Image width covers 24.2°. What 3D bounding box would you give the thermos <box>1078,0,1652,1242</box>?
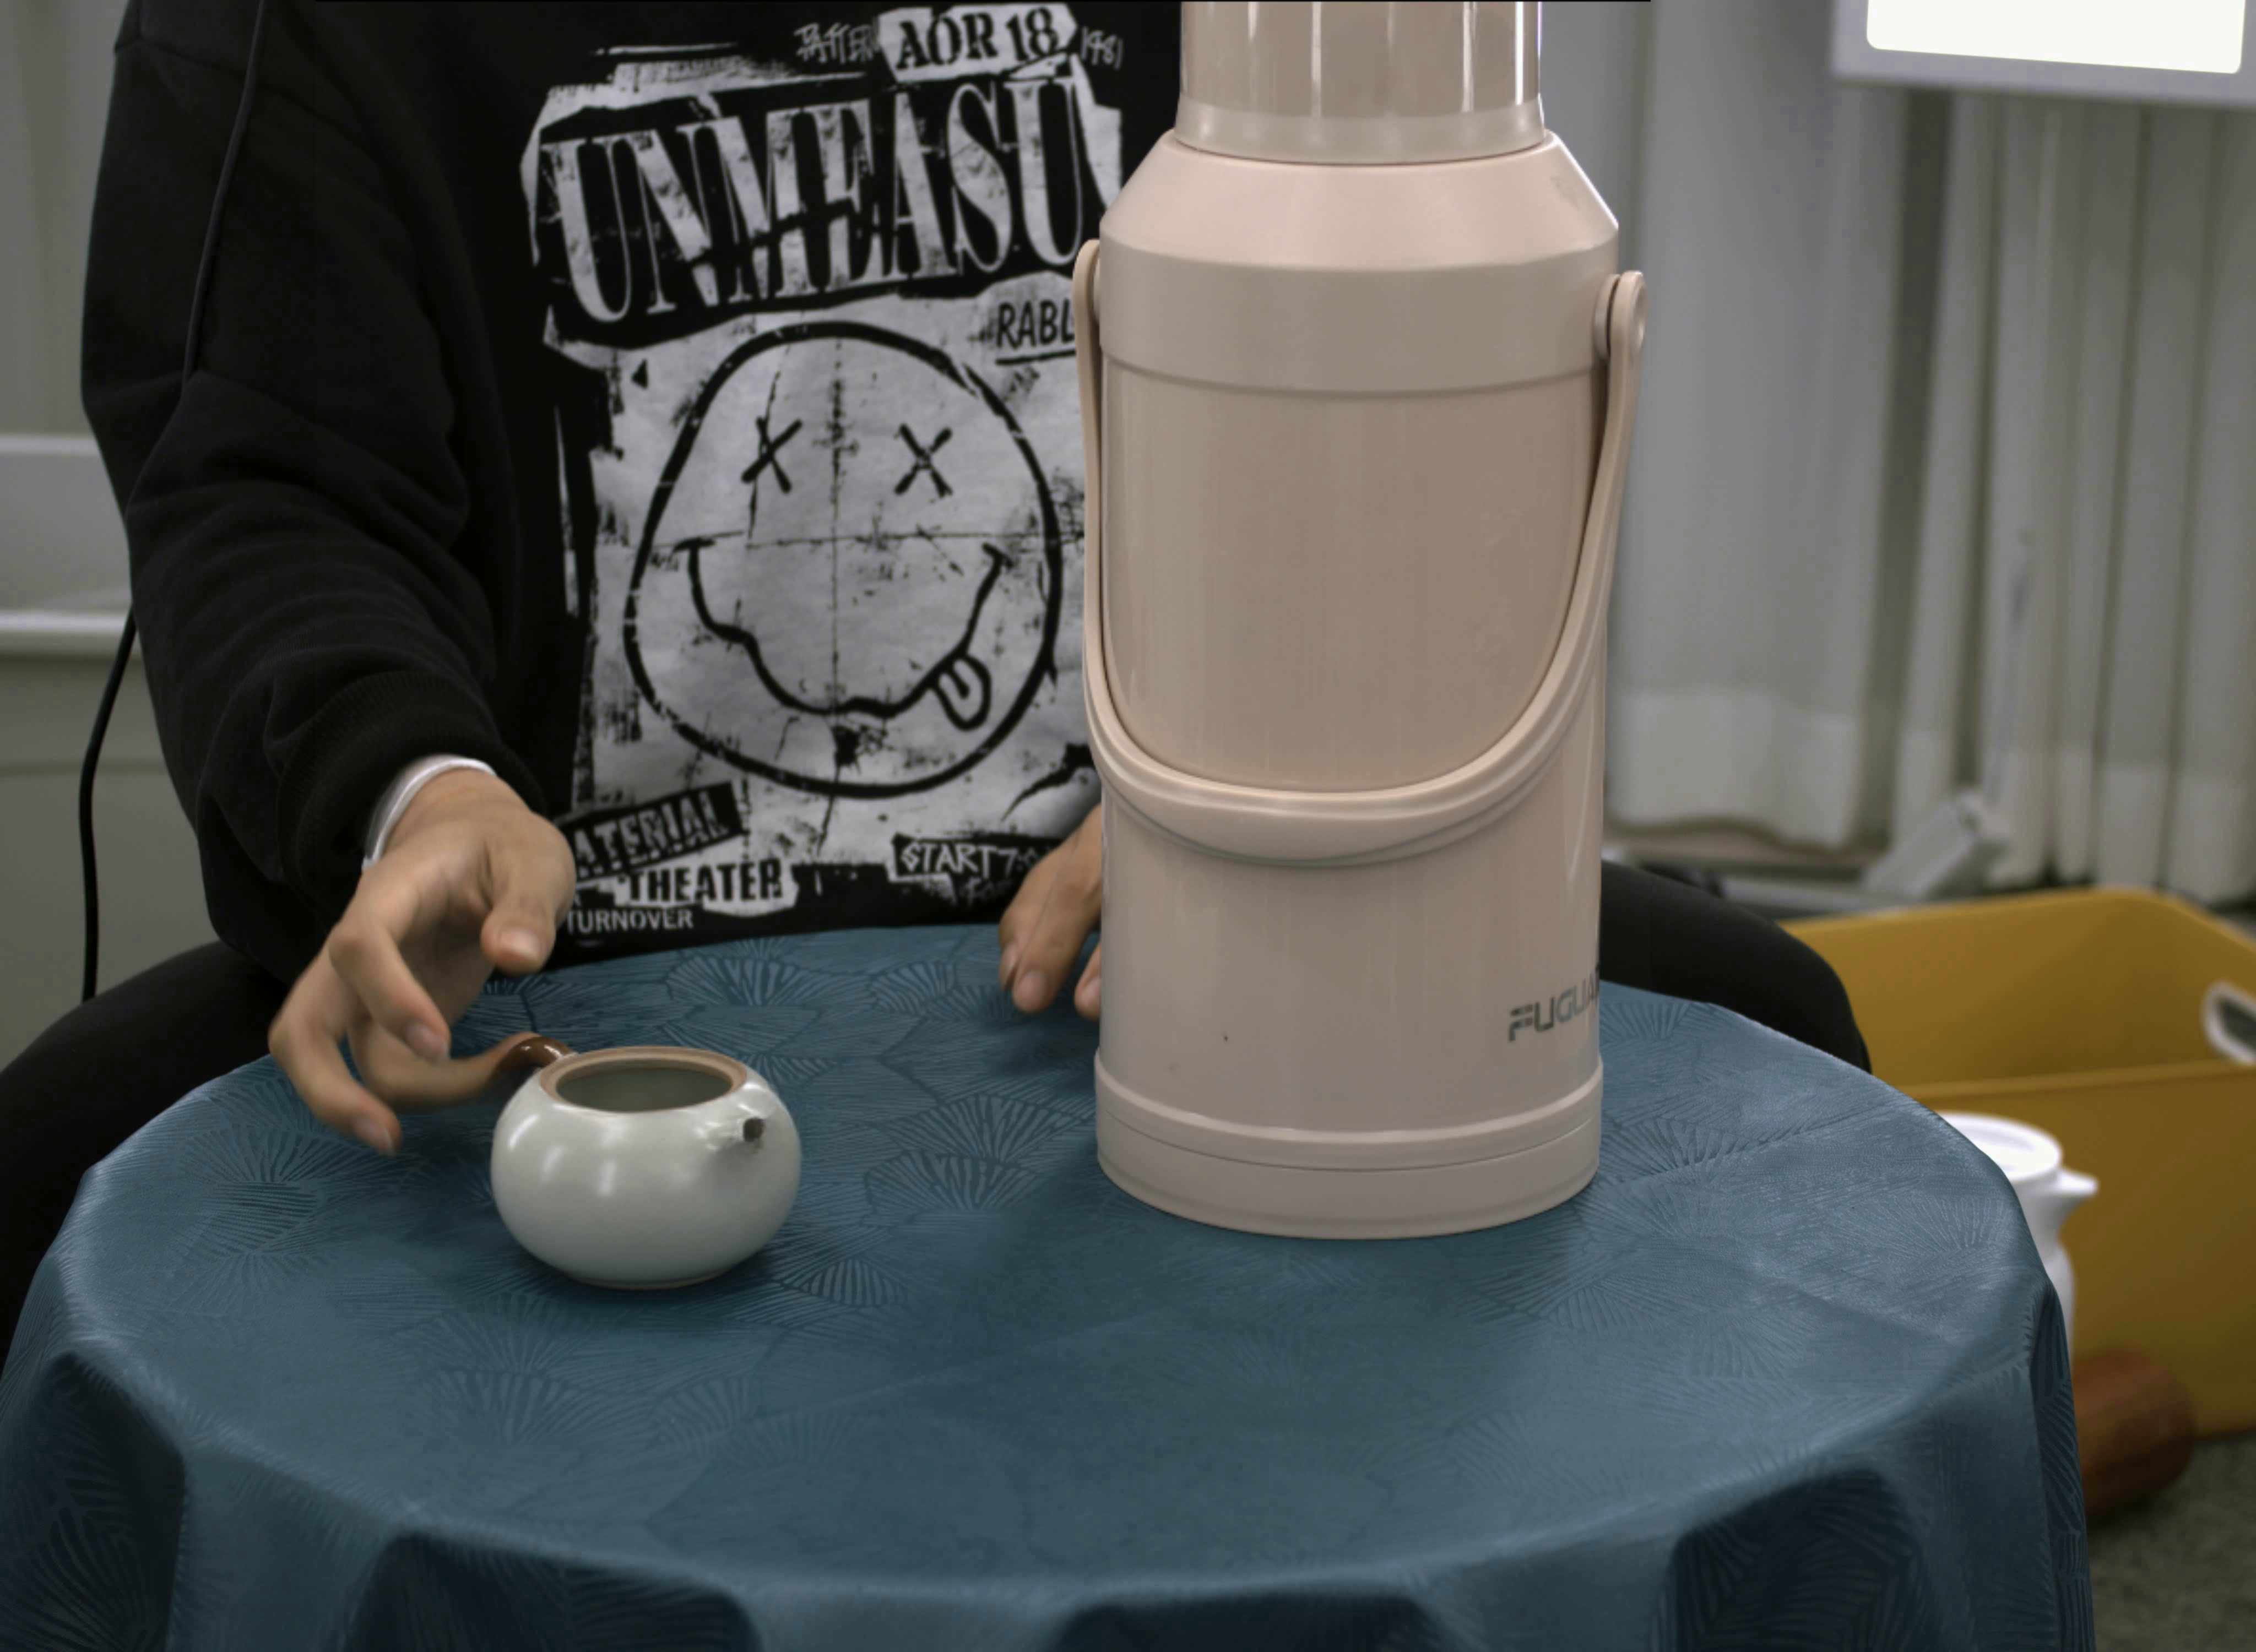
[{"bbox_3d":[0.077,-0.091,1.613,0.174,0.410,0.207,4,17,18],"label":"thermos"}]

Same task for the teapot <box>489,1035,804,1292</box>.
[{"bbox_3d":[-0.148,0.098,1.559,0.126,0.060,0.092,17,26,42],"label":"teapot"}]
